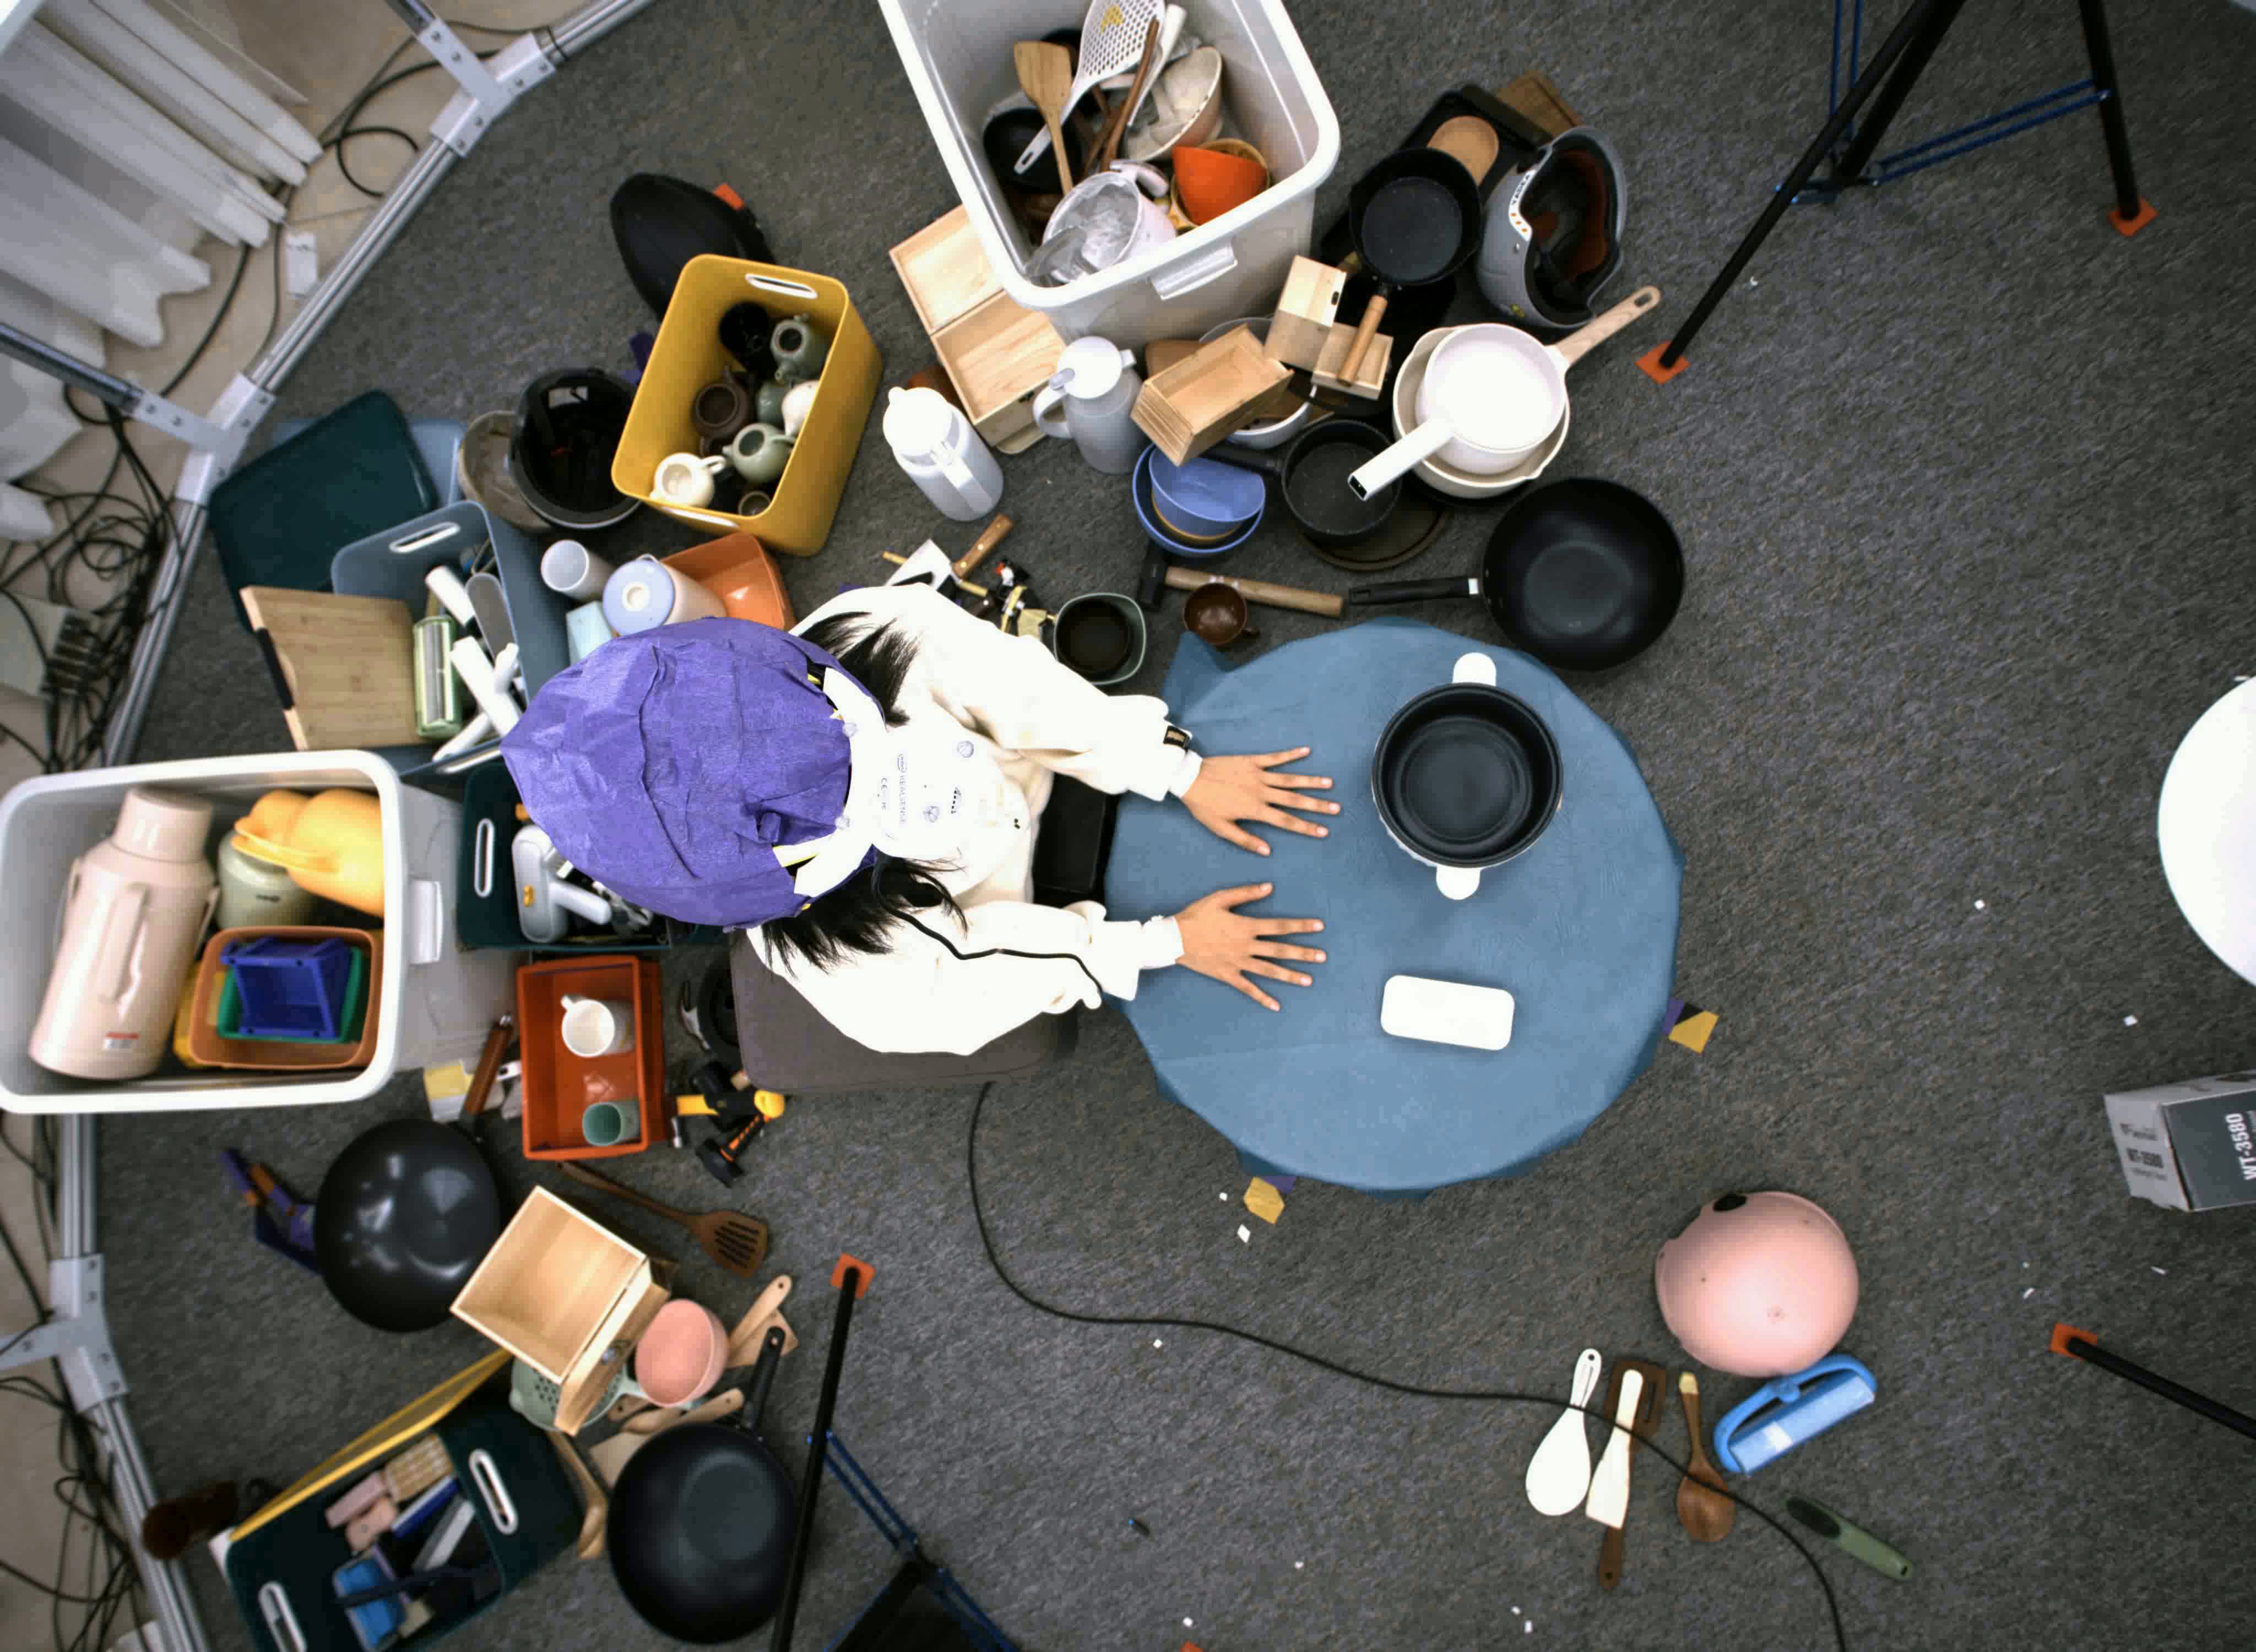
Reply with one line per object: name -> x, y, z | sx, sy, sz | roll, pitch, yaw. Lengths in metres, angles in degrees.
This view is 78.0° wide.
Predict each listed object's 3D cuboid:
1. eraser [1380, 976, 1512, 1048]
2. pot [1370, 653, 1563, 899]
eraser -> 0.329, 0.190, 1.427 | 0.131, 0.034, 0.063 | 7, 85, 10
pot -> 0.342, -0.045, 1.382 | 0.191, 0.142, 0.239 | 4, 88, 14
